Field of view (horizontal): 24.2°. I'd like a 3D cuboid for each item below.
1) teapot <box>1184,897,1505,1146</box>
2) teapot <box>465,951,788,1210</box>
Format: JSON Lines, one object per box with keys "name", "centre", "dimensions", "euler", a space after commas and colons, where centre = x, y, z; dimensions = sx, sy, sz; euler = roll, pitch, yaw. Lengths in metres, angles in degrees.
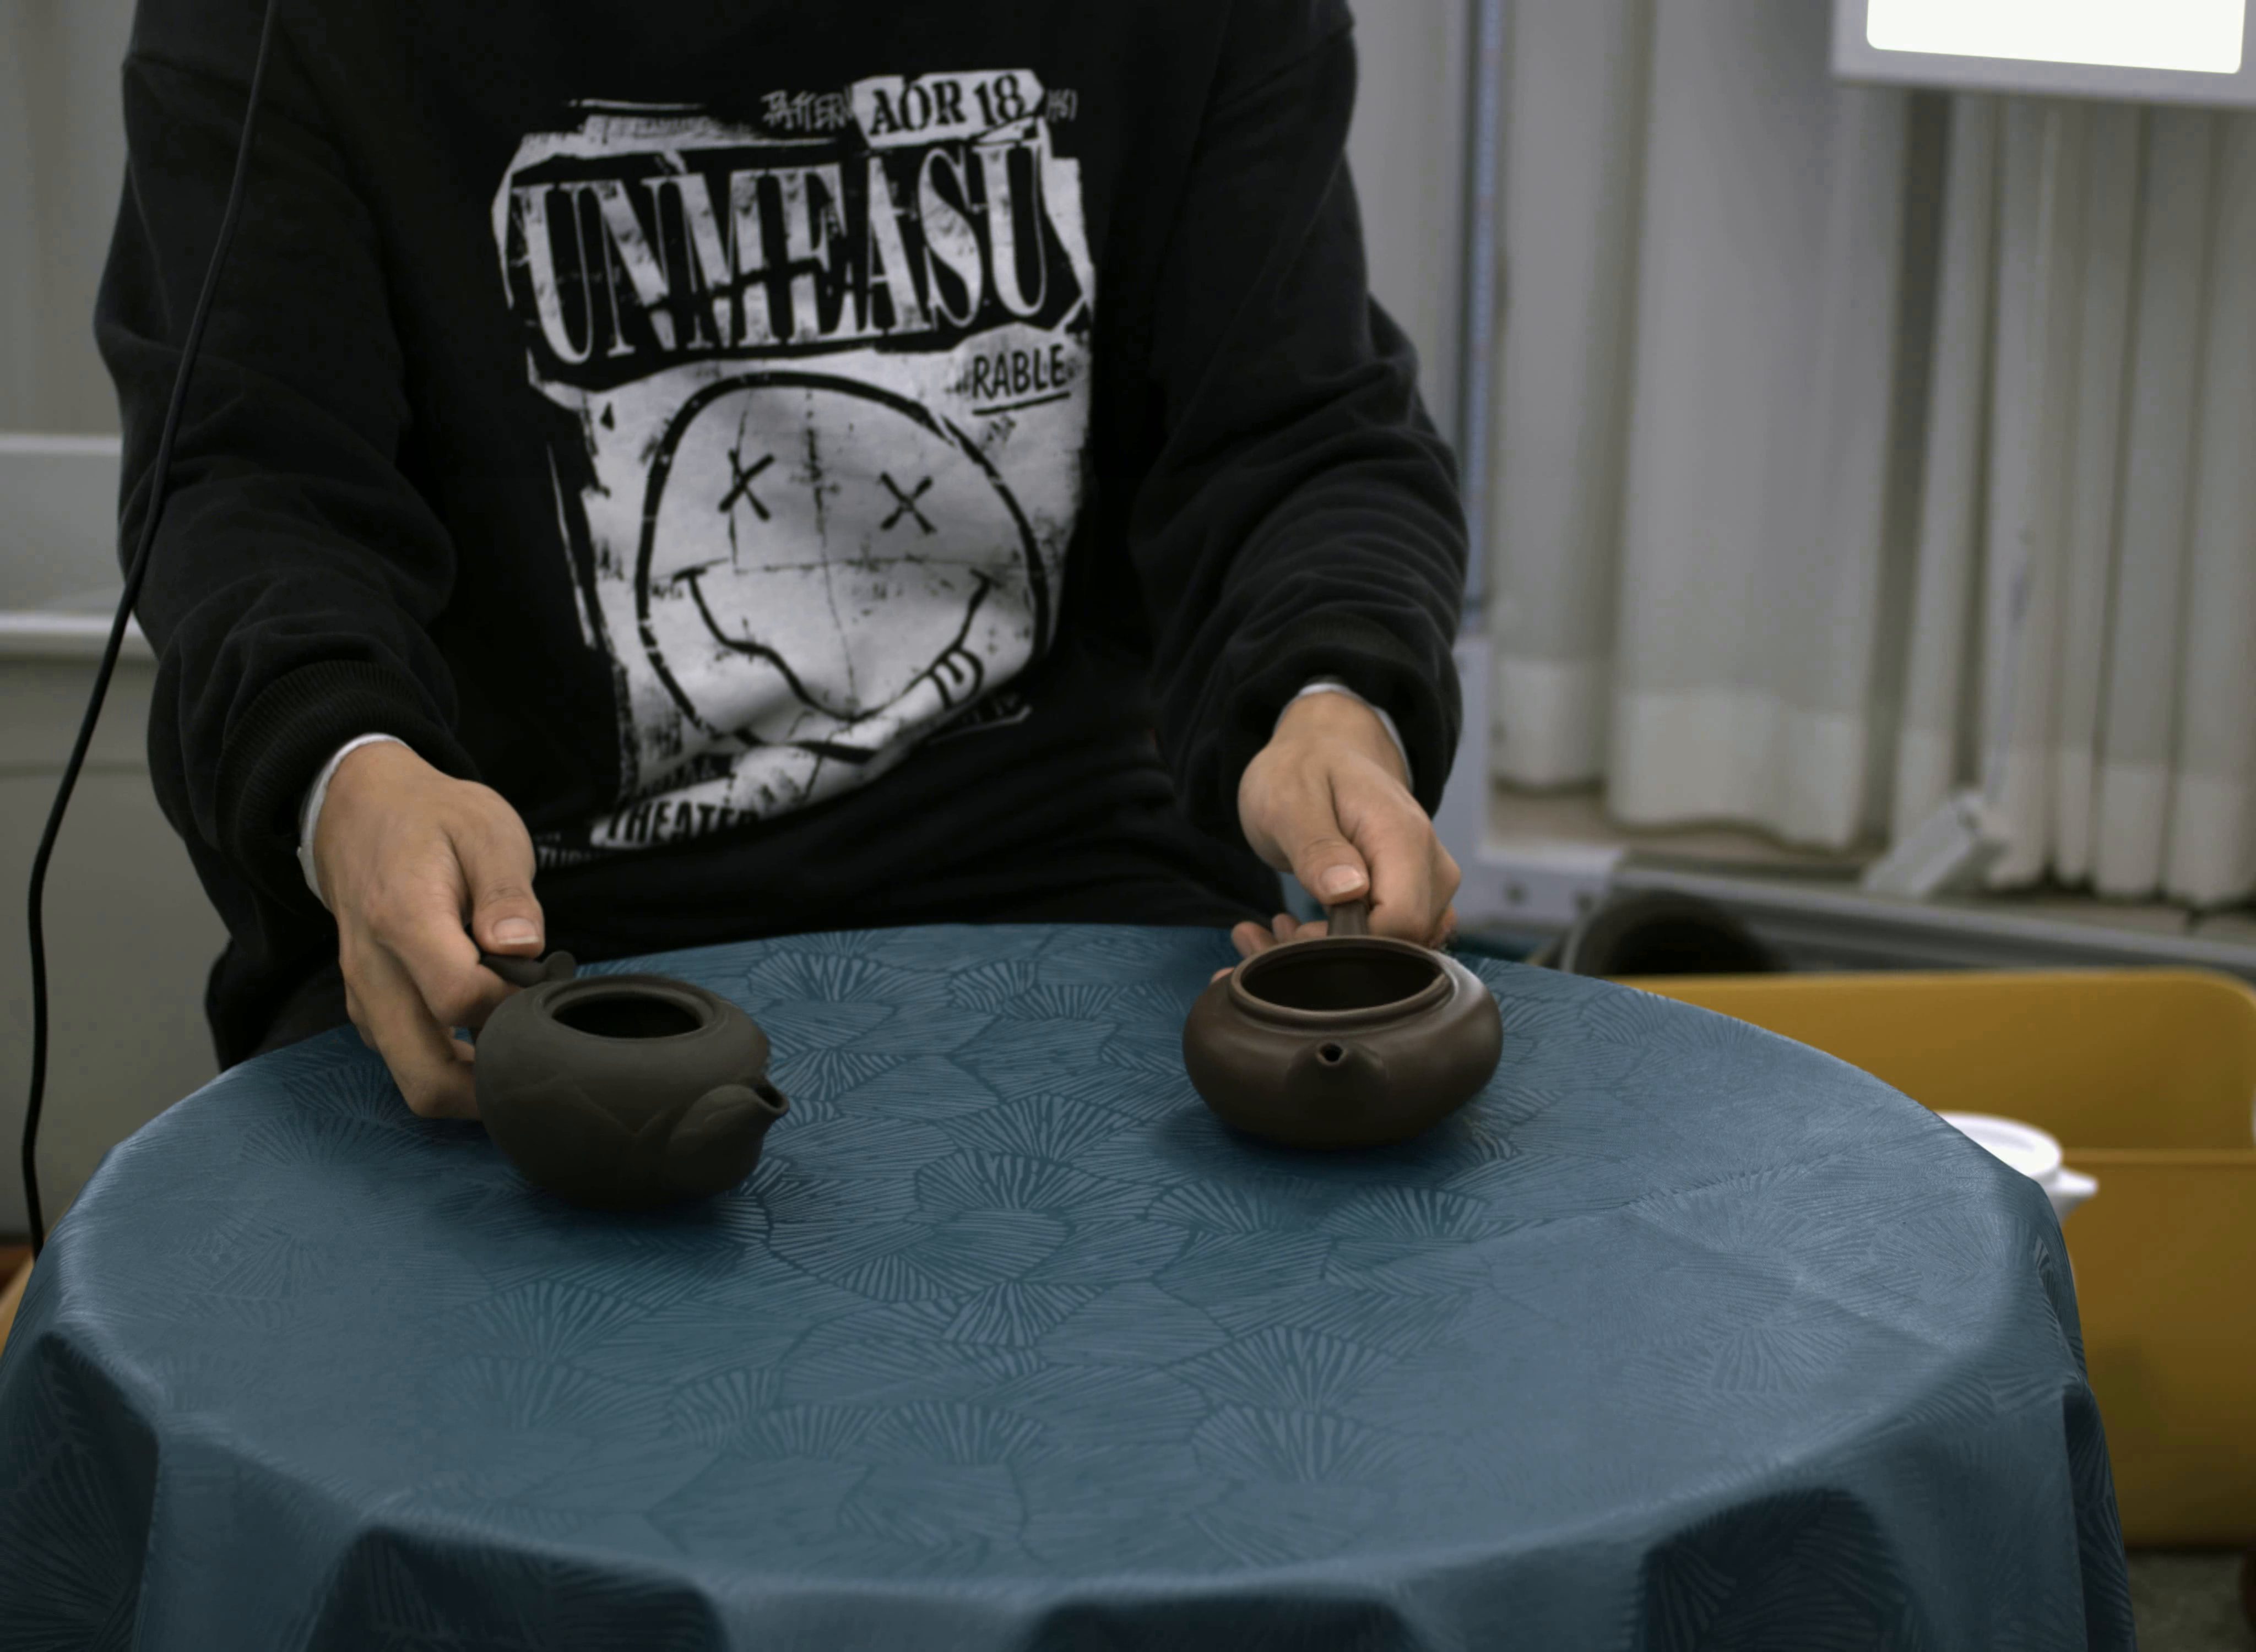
{"name": "teapot", "centre": [0.069, 0.065, 1.683], "dimensions": [0.102, 0.054, 0.152], "euler": [-1, 20, -1]}
{"name": "teapot", "centre": [-0.156, 0.079, 1.611], "dimensions": [0.093, 0.065, 0.152], "euler": [-9, 23, -43]}
